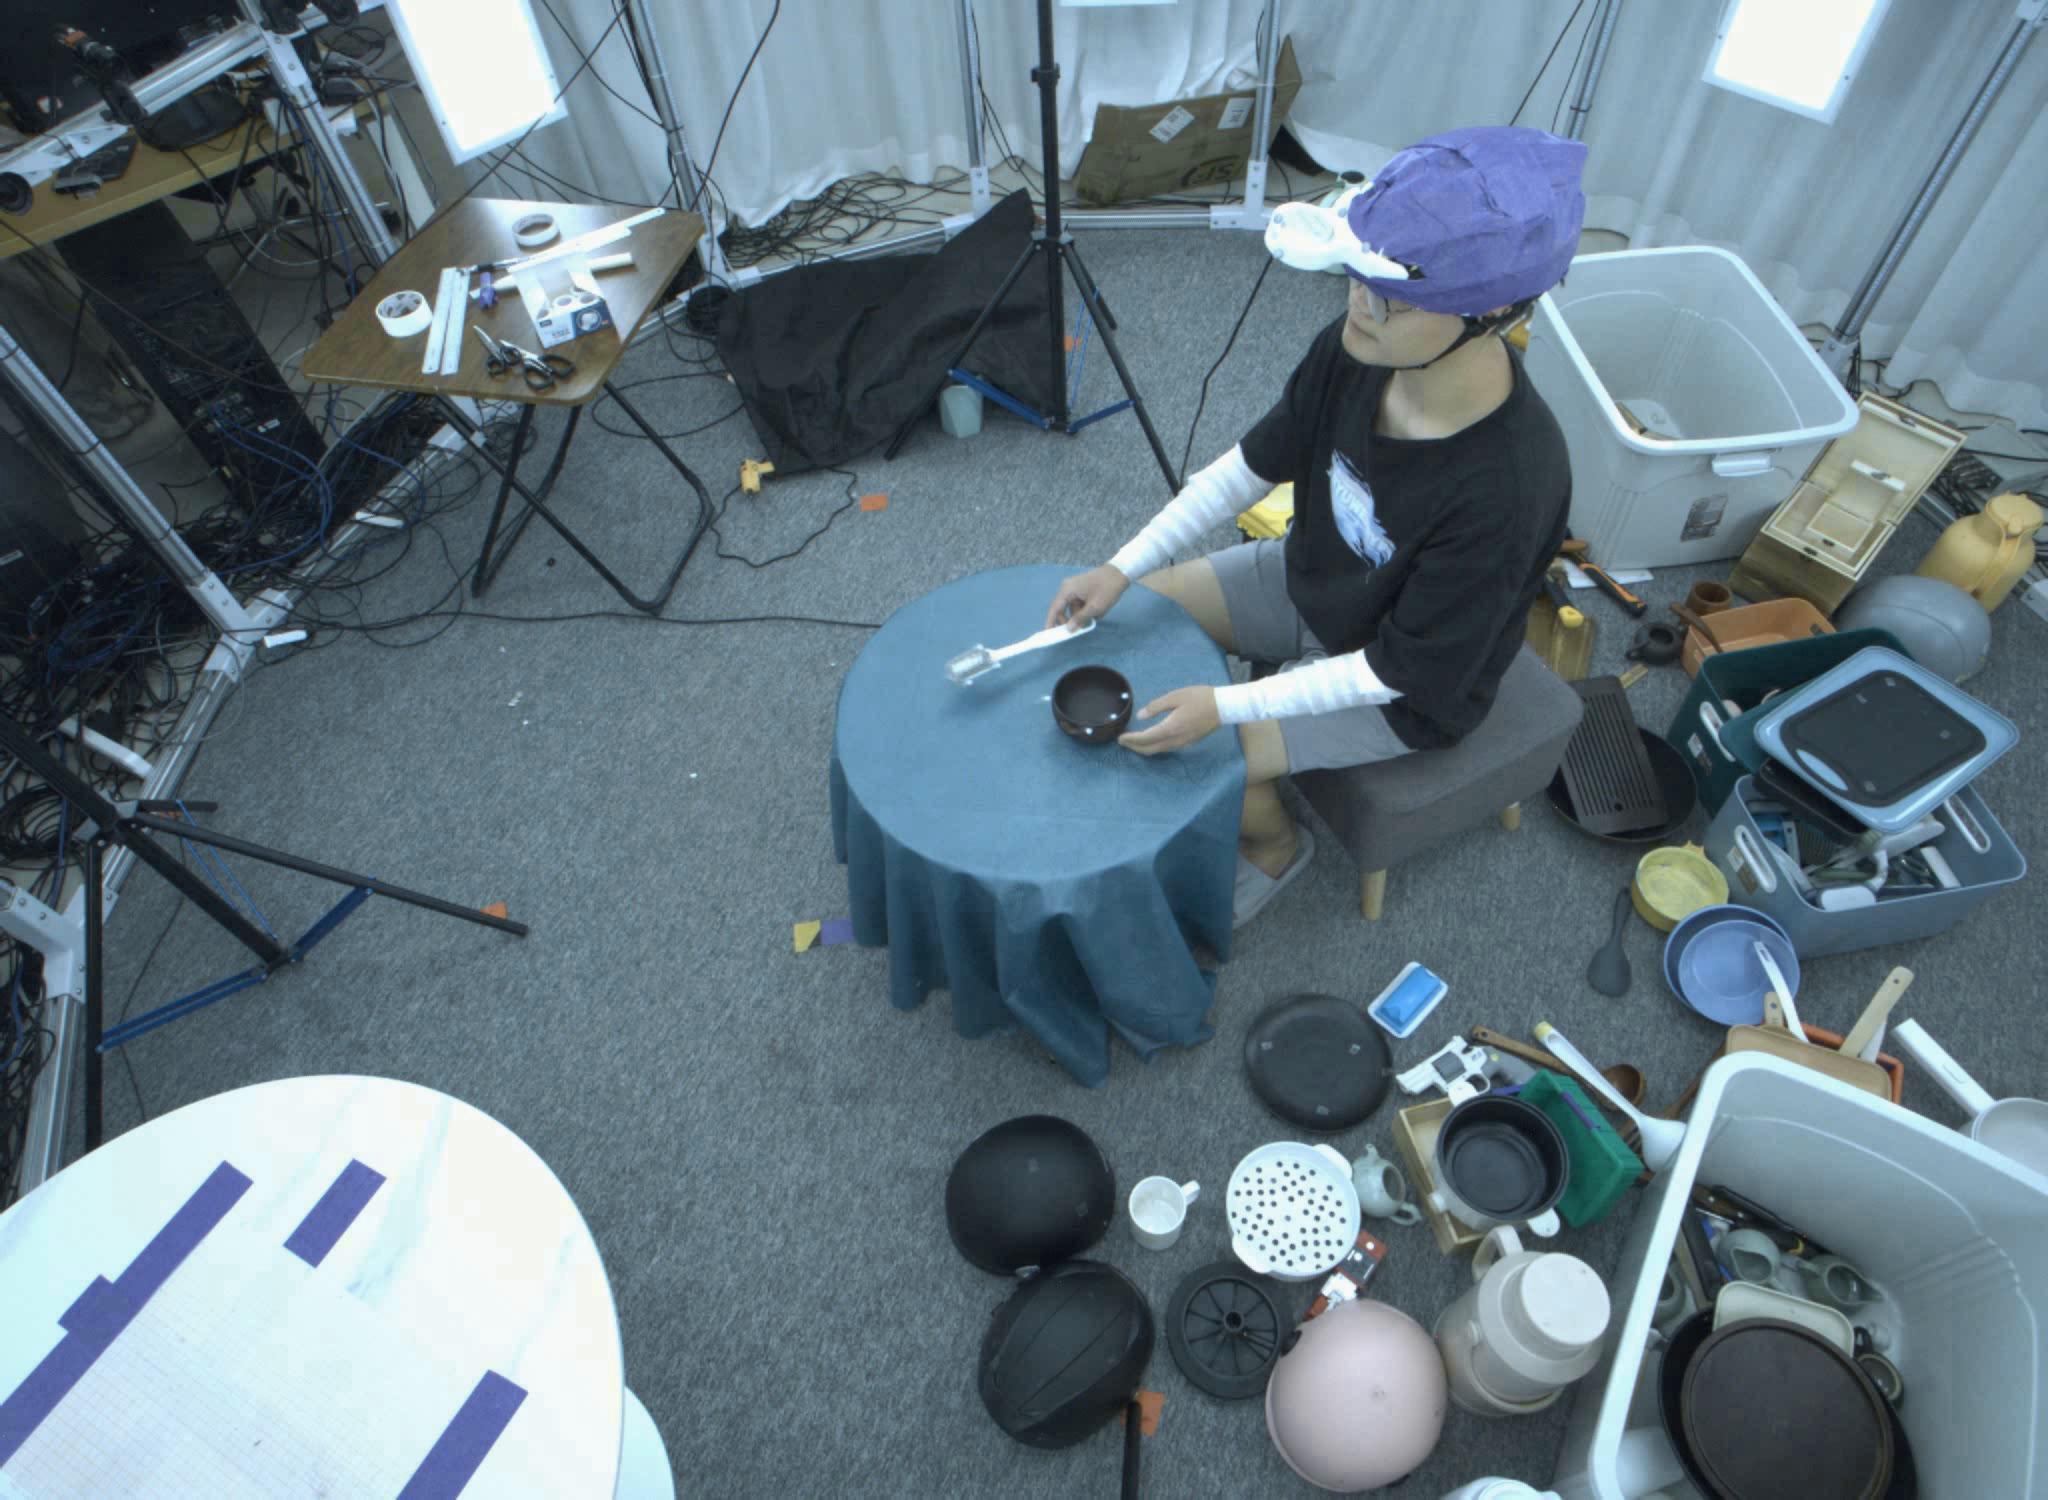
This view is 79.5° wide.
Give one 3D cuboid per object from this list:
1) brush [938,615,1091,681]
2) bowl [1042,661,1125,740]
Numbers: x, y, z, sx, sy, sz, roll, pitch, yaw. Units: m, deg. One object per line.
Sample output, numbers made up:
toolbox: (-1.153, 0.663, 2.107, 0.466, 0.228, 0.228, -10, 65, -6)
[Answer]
brush: (-0.011, -0.157, 1.823, 0.245, 0.050, 0.034, -21, 83, -10)
bowl: (0.086, -0.063, 1.775, 0.118, 0.070, 0.117, 0, 53, 1)
